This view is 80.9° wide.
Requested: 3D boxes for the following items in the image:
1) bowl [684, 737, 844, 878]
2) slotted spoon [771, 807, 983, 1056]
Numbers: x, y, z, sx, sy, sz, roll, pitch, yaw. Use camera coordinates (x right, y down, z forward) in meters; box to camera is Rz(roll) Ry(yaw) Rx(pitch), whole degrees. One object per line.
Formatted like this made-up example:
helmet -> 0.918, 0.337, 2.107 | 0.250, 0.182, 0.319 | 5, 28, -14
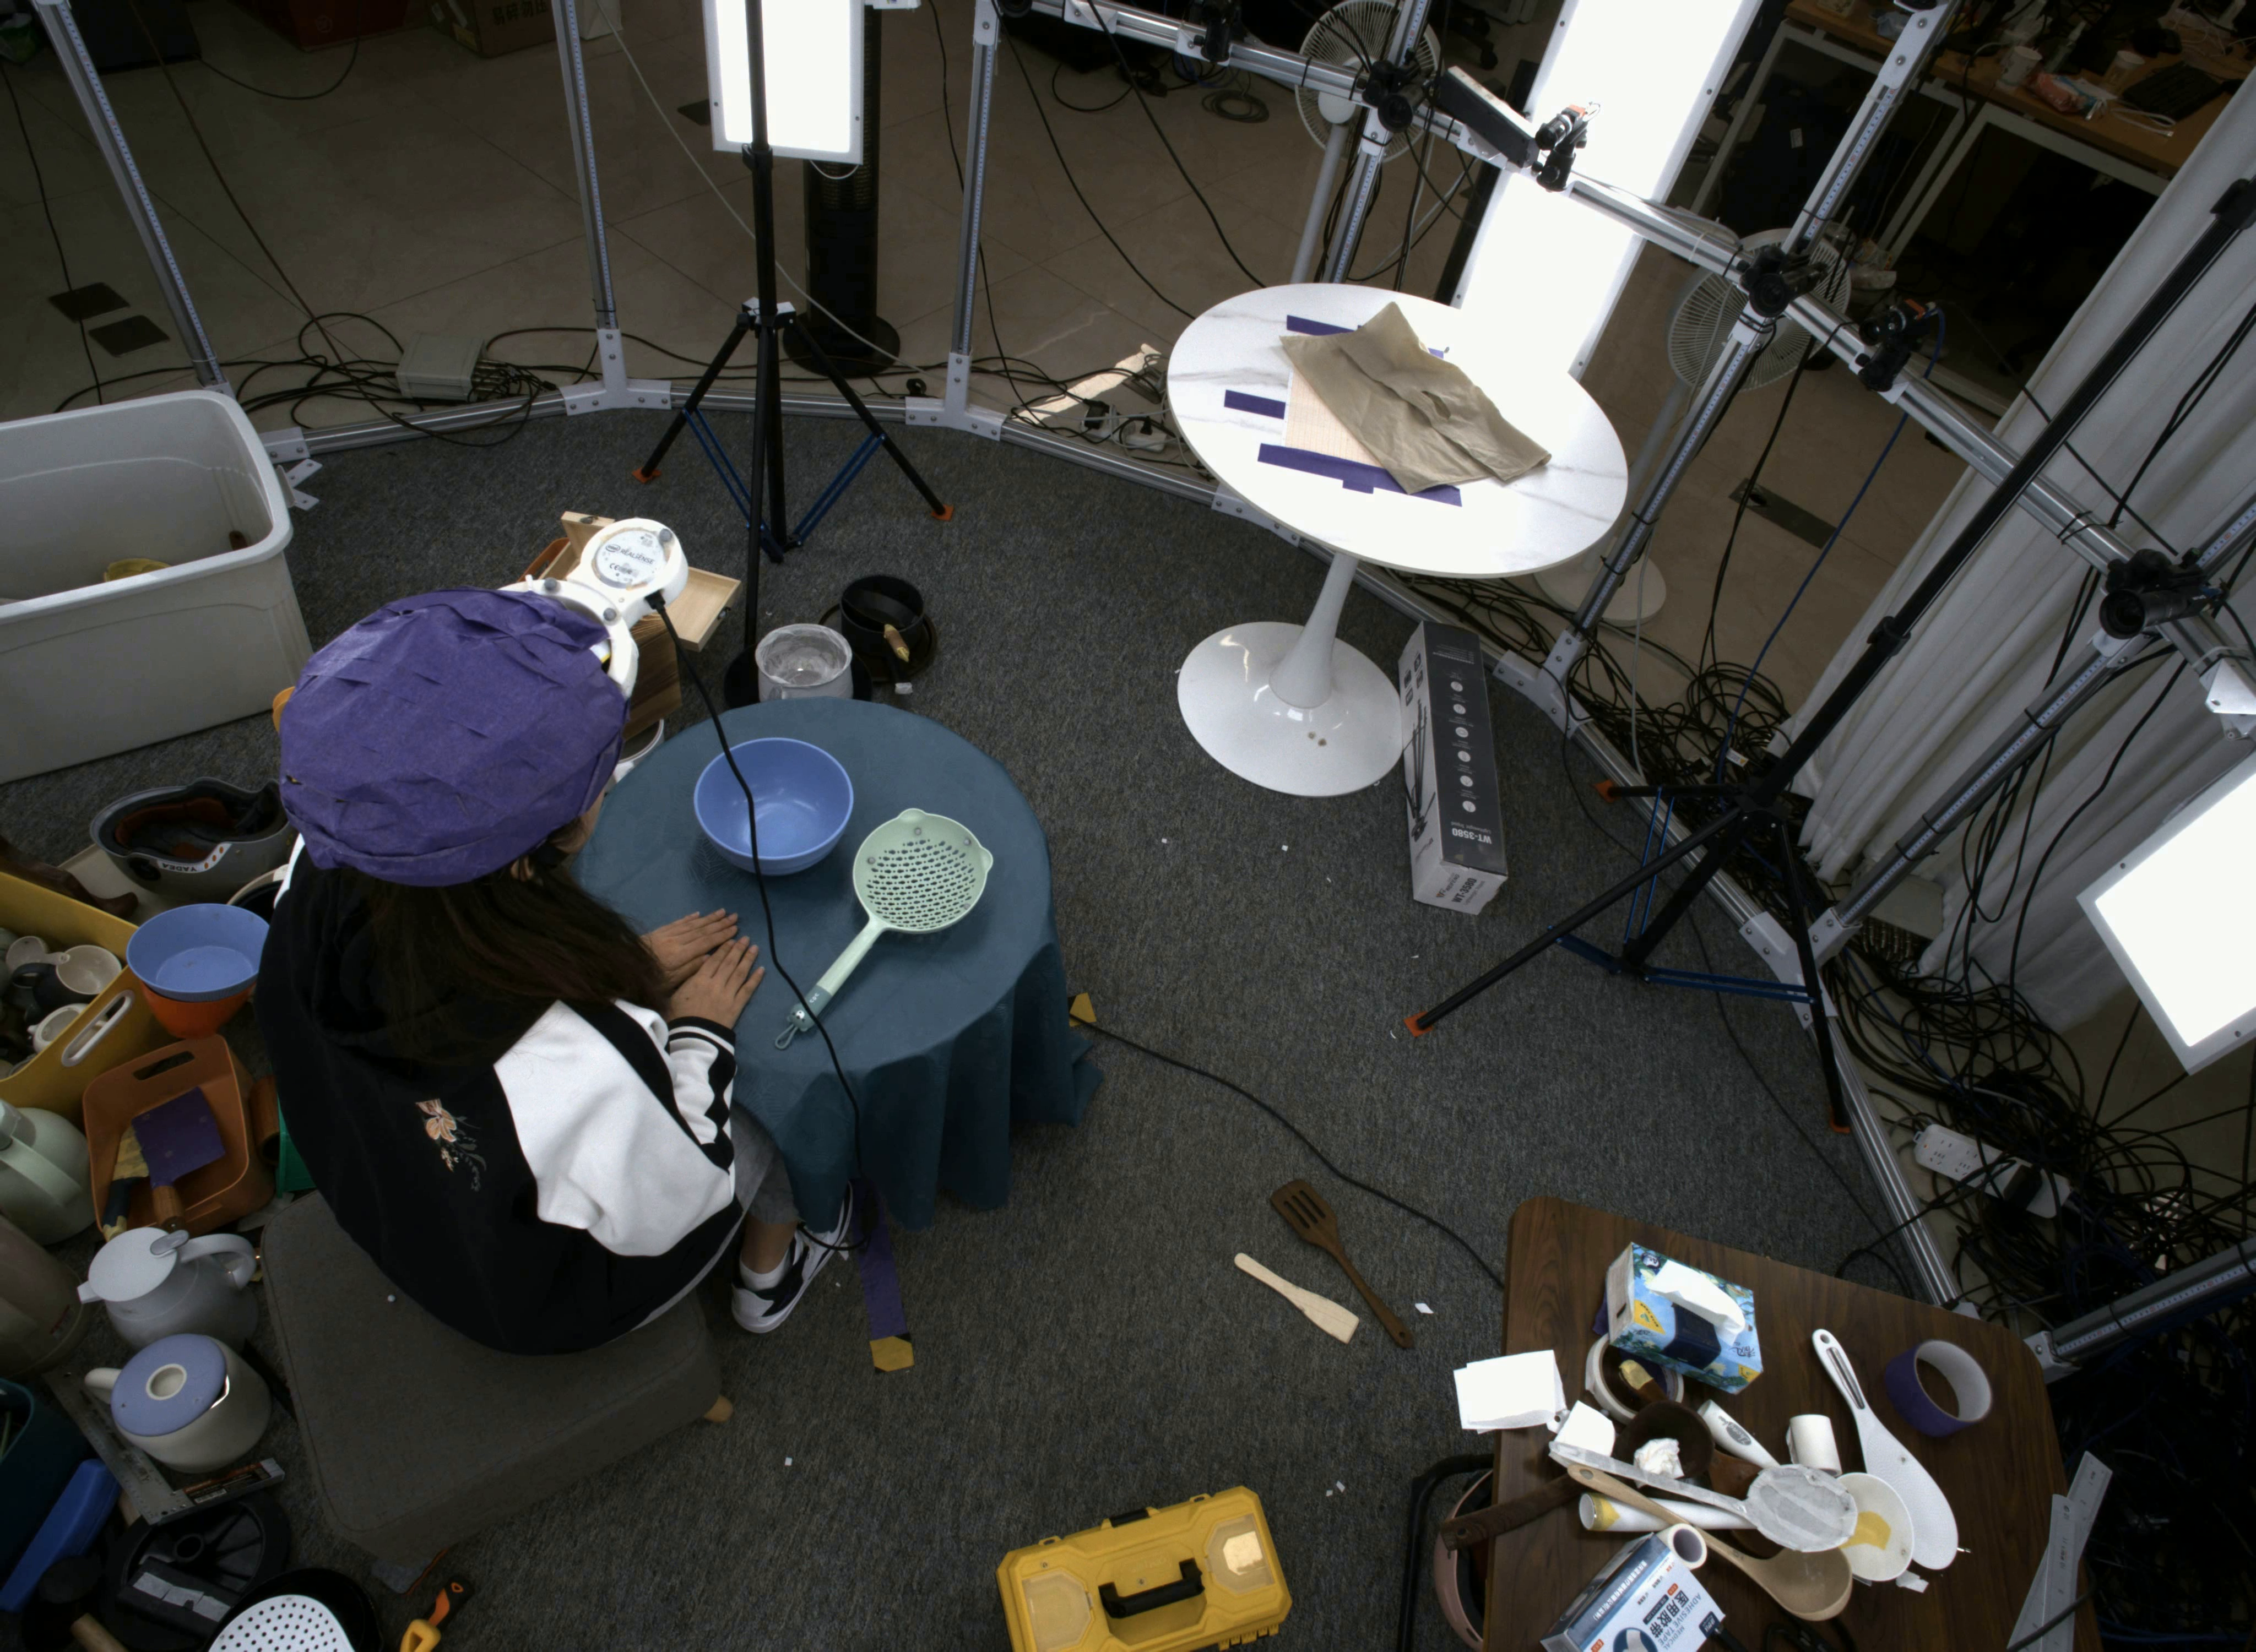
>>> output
bowl -> -0.462, -0.009, 1.655 | 0.196, 0.097, 0.193 | 8, 53, -9
slotted spoon -> -0.325, 0.131, 1.610 | 0.166, 0.077, 0.357 | 30, 54, 11
